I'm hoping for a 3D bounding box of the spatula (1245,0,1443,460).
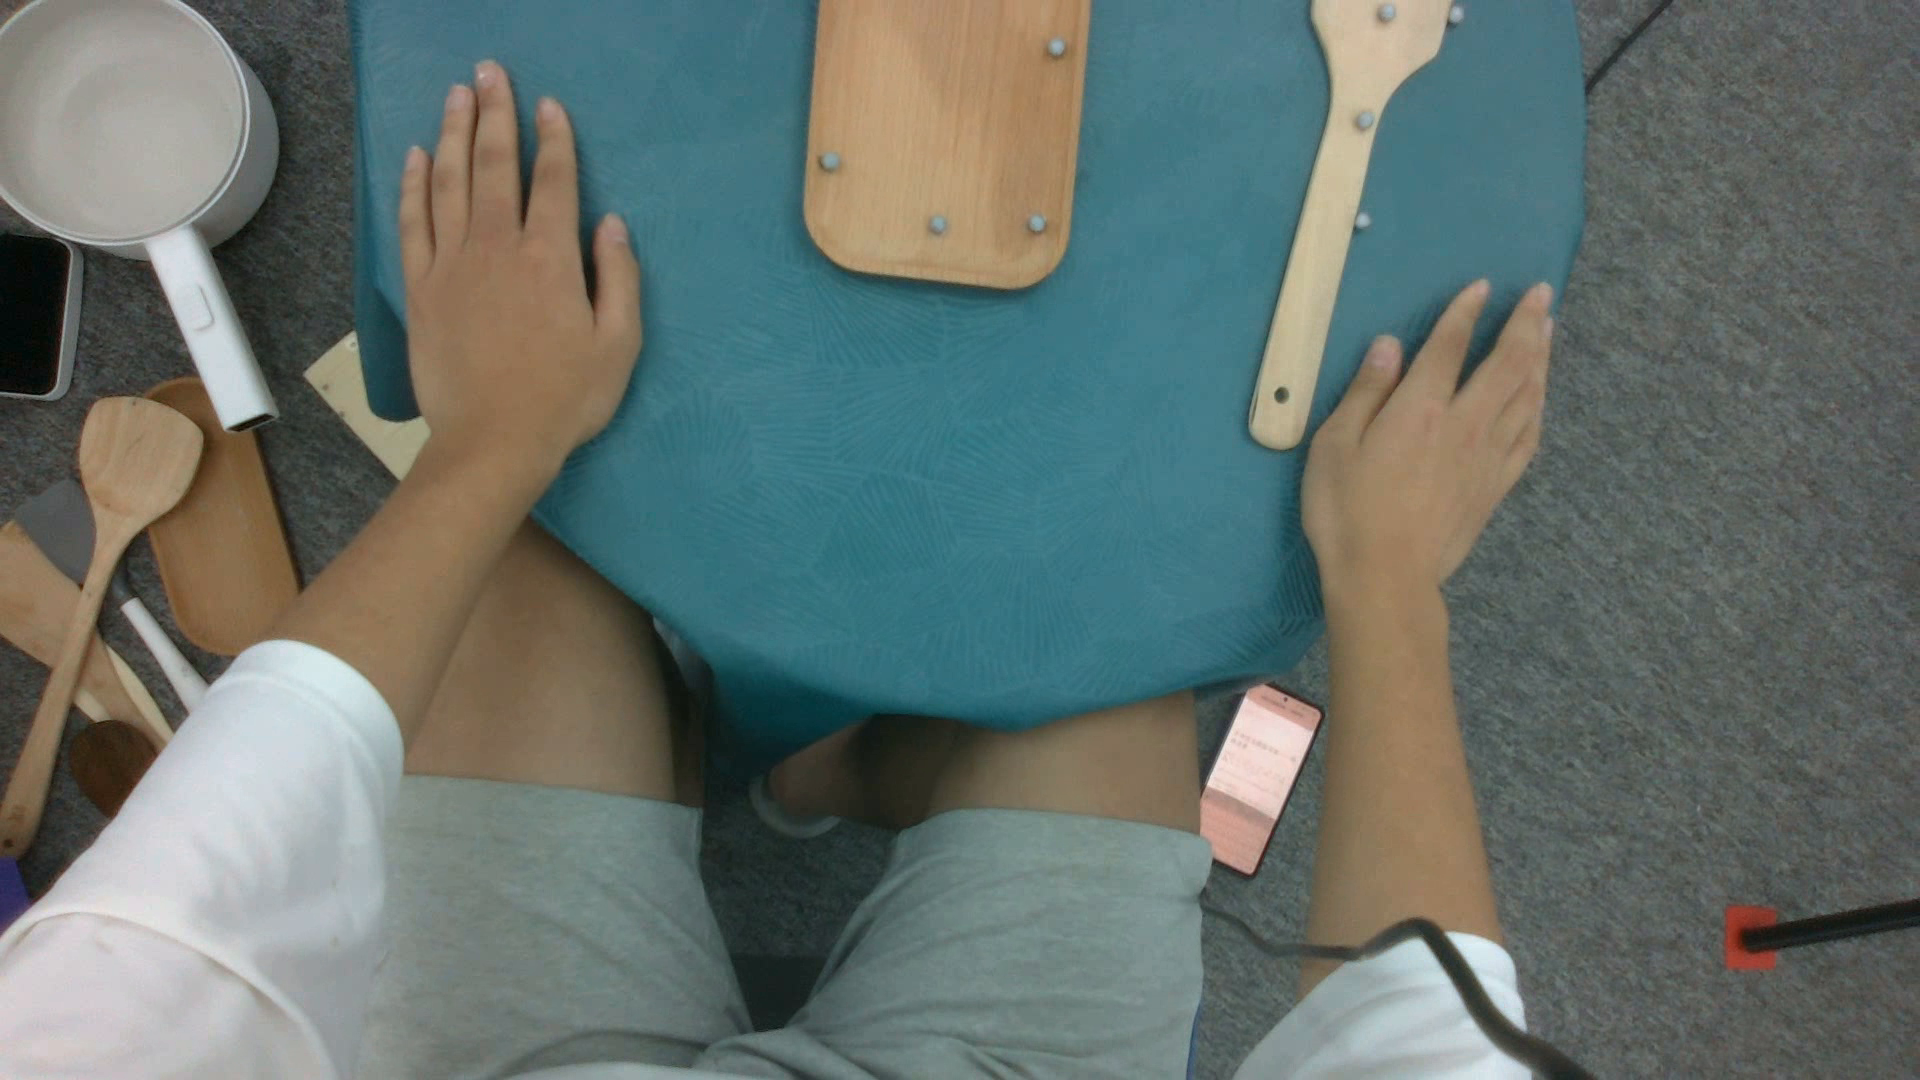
[{"bbox_3d":[0.189,-0.183,0.698,0.072,0.010,0.293,14,87,-7],"label":"spatula"}]

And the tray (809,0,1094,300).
[{"bbox_3d":[-0.001,-0.245,0.676,0.130,0.023,0.251,6,87,-8],"label":"tray"}]
